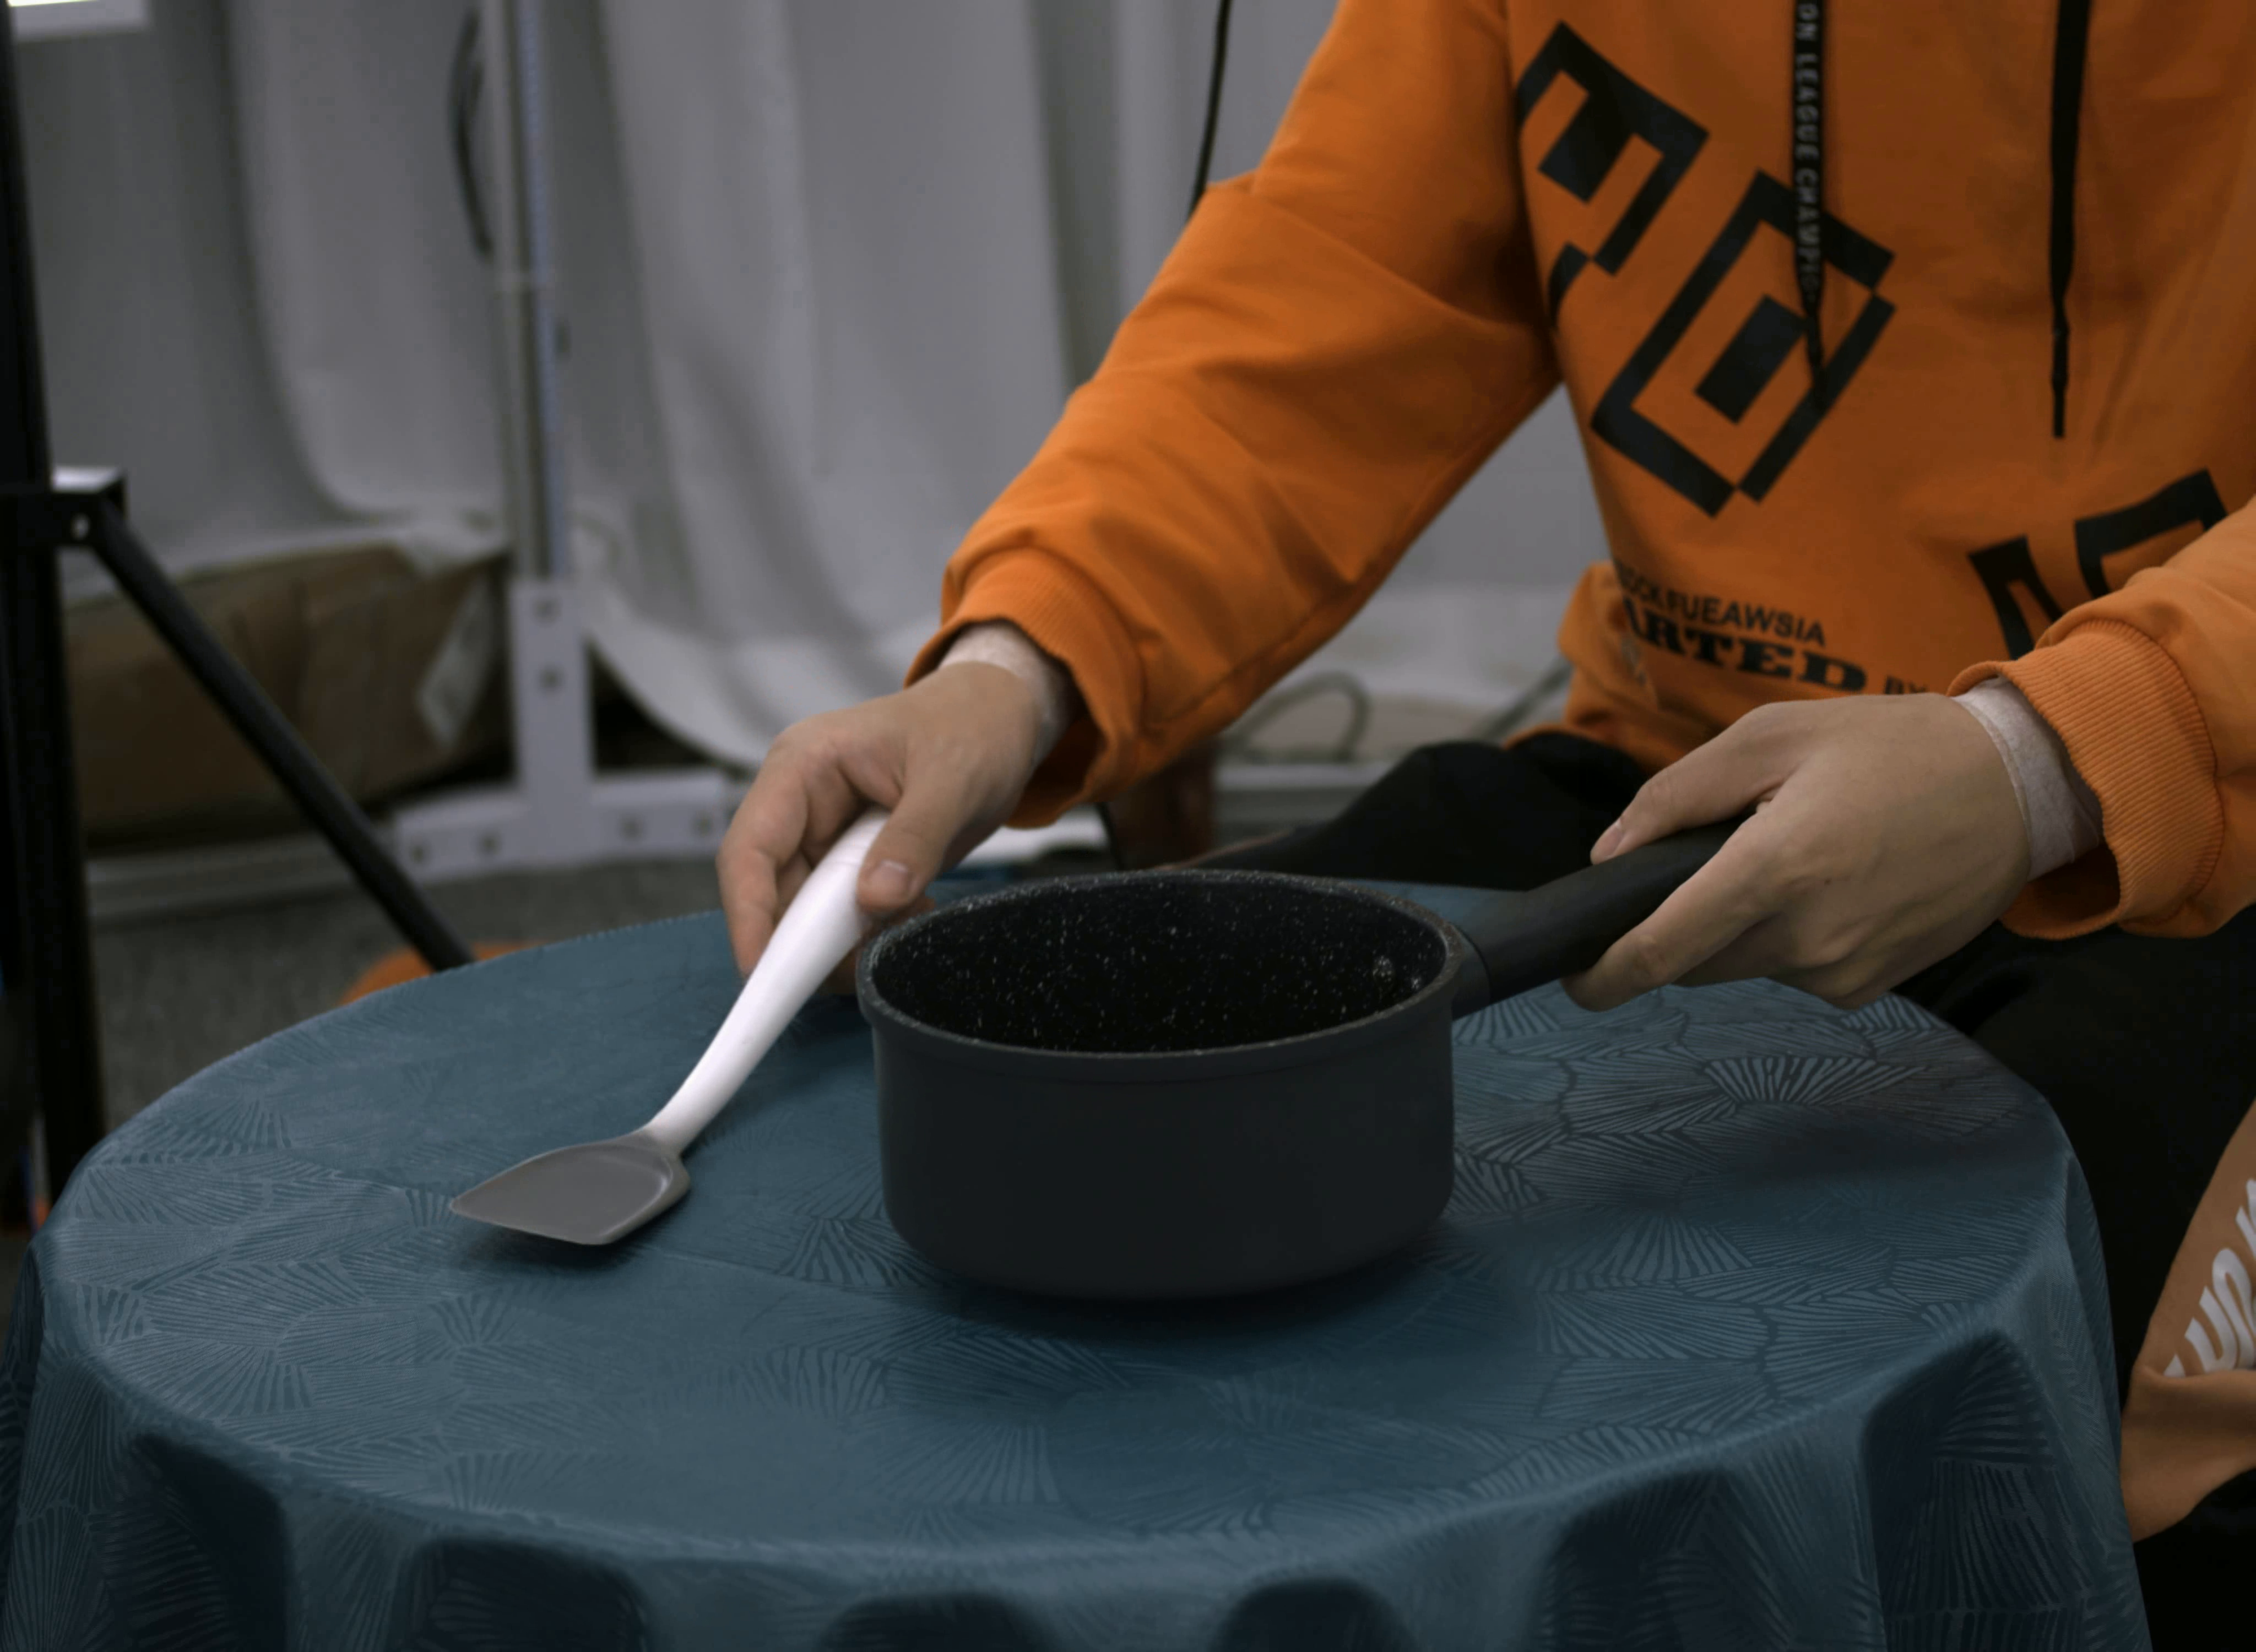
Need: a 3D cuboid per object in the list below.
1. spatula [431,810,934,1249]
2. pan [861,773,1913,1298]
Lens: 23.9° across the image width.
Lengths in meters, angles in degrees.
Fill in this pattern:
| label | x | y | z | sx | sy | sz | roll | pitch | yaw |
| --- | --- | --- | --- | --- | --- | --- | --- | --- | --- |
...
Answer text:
| label | x | y | z | sx | sy | sz | roll | pitch | yaw |
| --- | --- | --- | --- | --- | --- | --- | --- | --- | --- |
| spatula | -0.127 | 0.067 | 1.642 | 0.059 | 0.032 | 0.285 | 14 | 29 | 16 |
| pan | 0.082 | 0.055 | 1.527 | 0.322 | 0.086 | 0.175 | -11 | 19 | -22 |
